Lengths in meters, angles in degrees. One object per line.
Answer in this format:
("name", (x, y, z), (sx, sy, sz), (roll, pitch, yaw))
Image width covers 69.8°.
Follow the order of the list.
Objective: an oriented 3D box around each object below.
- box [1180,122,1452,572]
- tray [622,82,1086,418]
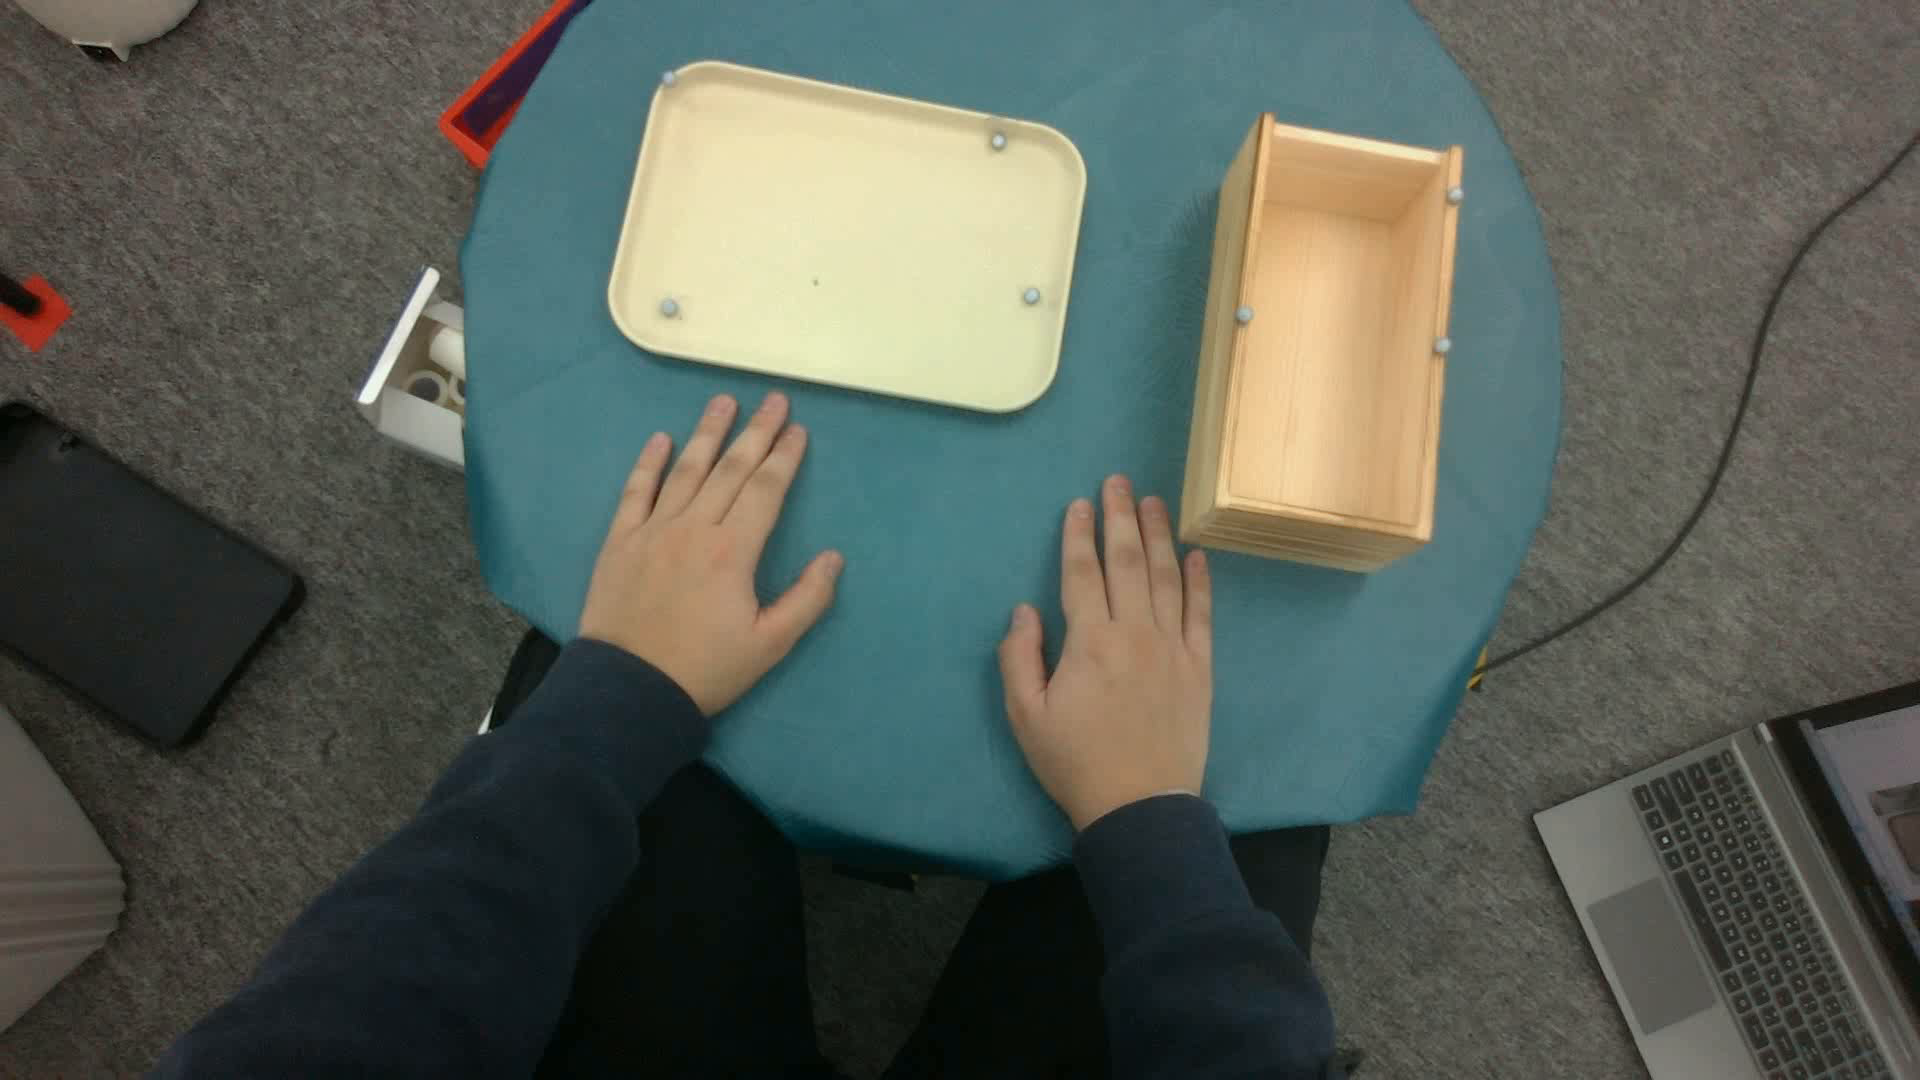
("box", (0.186, -0.100, 0.726), (0.107, 0.080, 0.212), (9, 76, -1))
("tray", (-0.056, -0.160, 0.758), (0.240, 0.017, 0.171), (9, 76, -1))
